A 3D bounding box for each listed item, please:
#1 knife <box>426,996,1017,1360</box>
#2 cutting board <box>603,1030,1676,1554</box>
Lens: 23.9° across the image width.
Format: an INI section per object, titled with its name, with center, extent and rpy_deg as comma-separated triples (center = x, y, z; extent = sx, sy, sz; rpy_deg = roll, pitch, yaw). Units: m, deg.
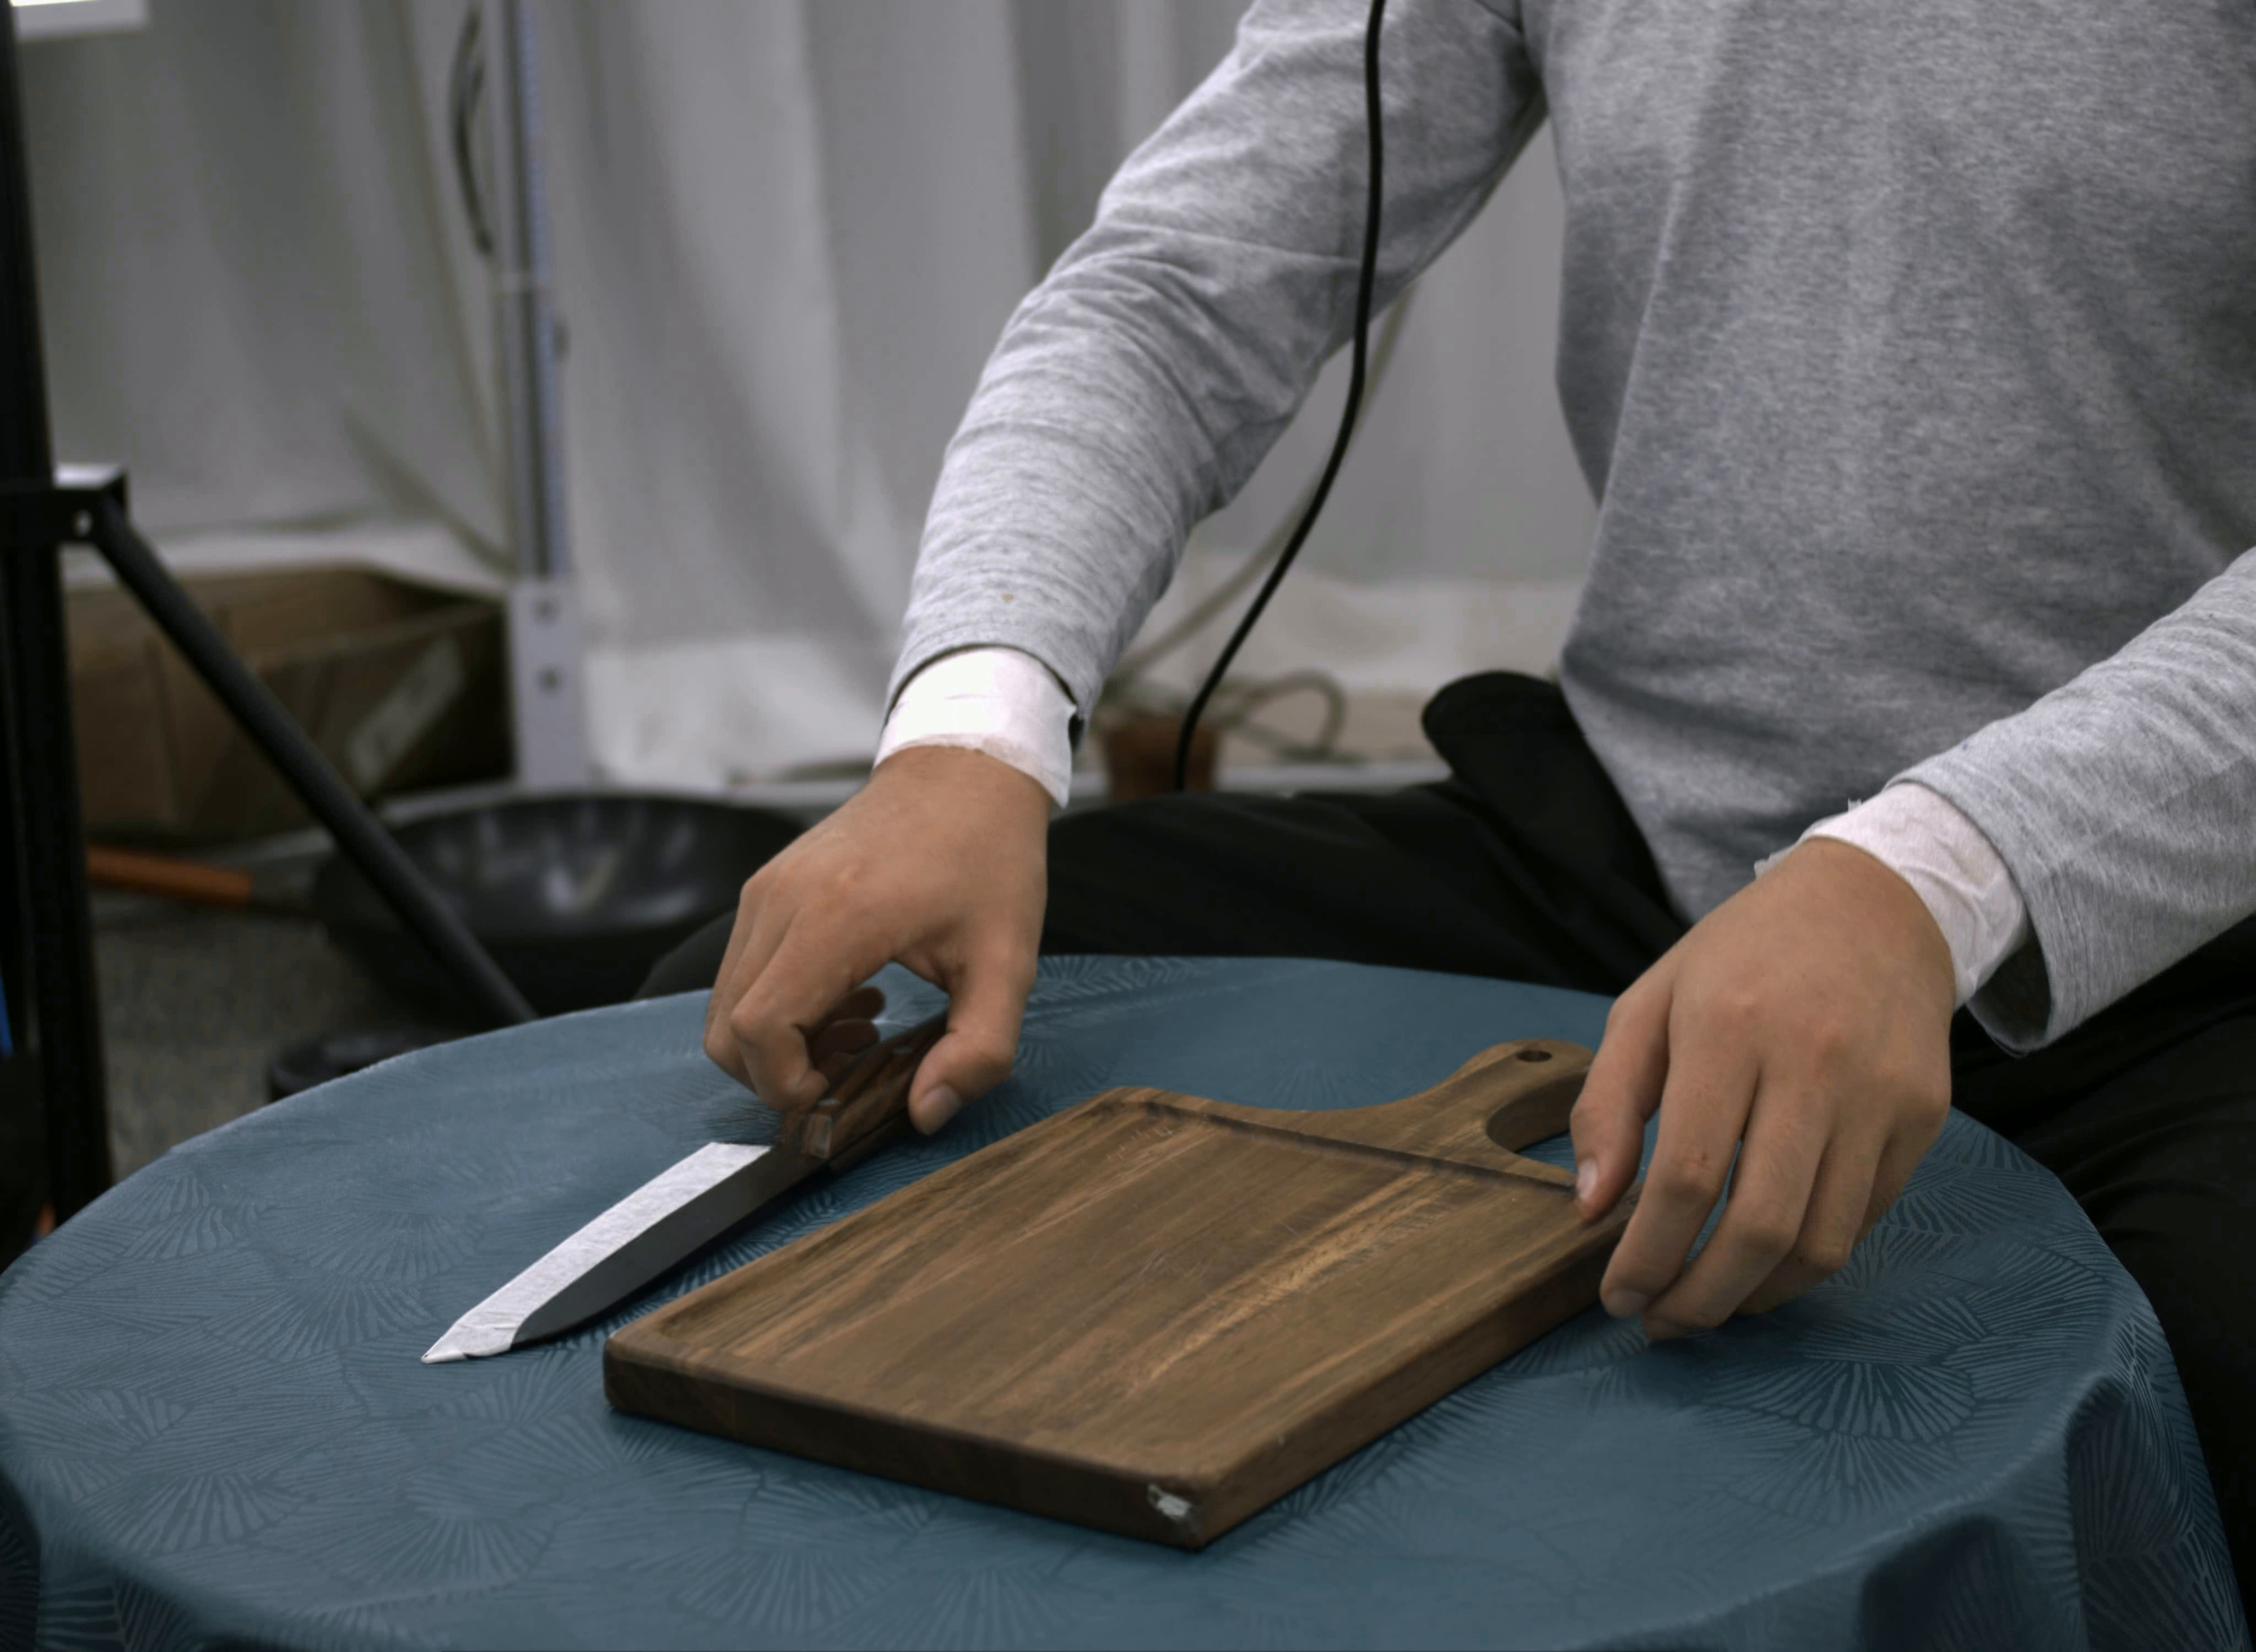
[knife]
center = -0.114, 0.104, 1.566
extent = 0.051, 0.020, 0.284
rpy_deg = 3, 19, 32
[cutting board]
center = 0.036, 0.116, 1.489
extent = 0.205, 0.023, 0.345
rpy_deg = 9, 20, 34
